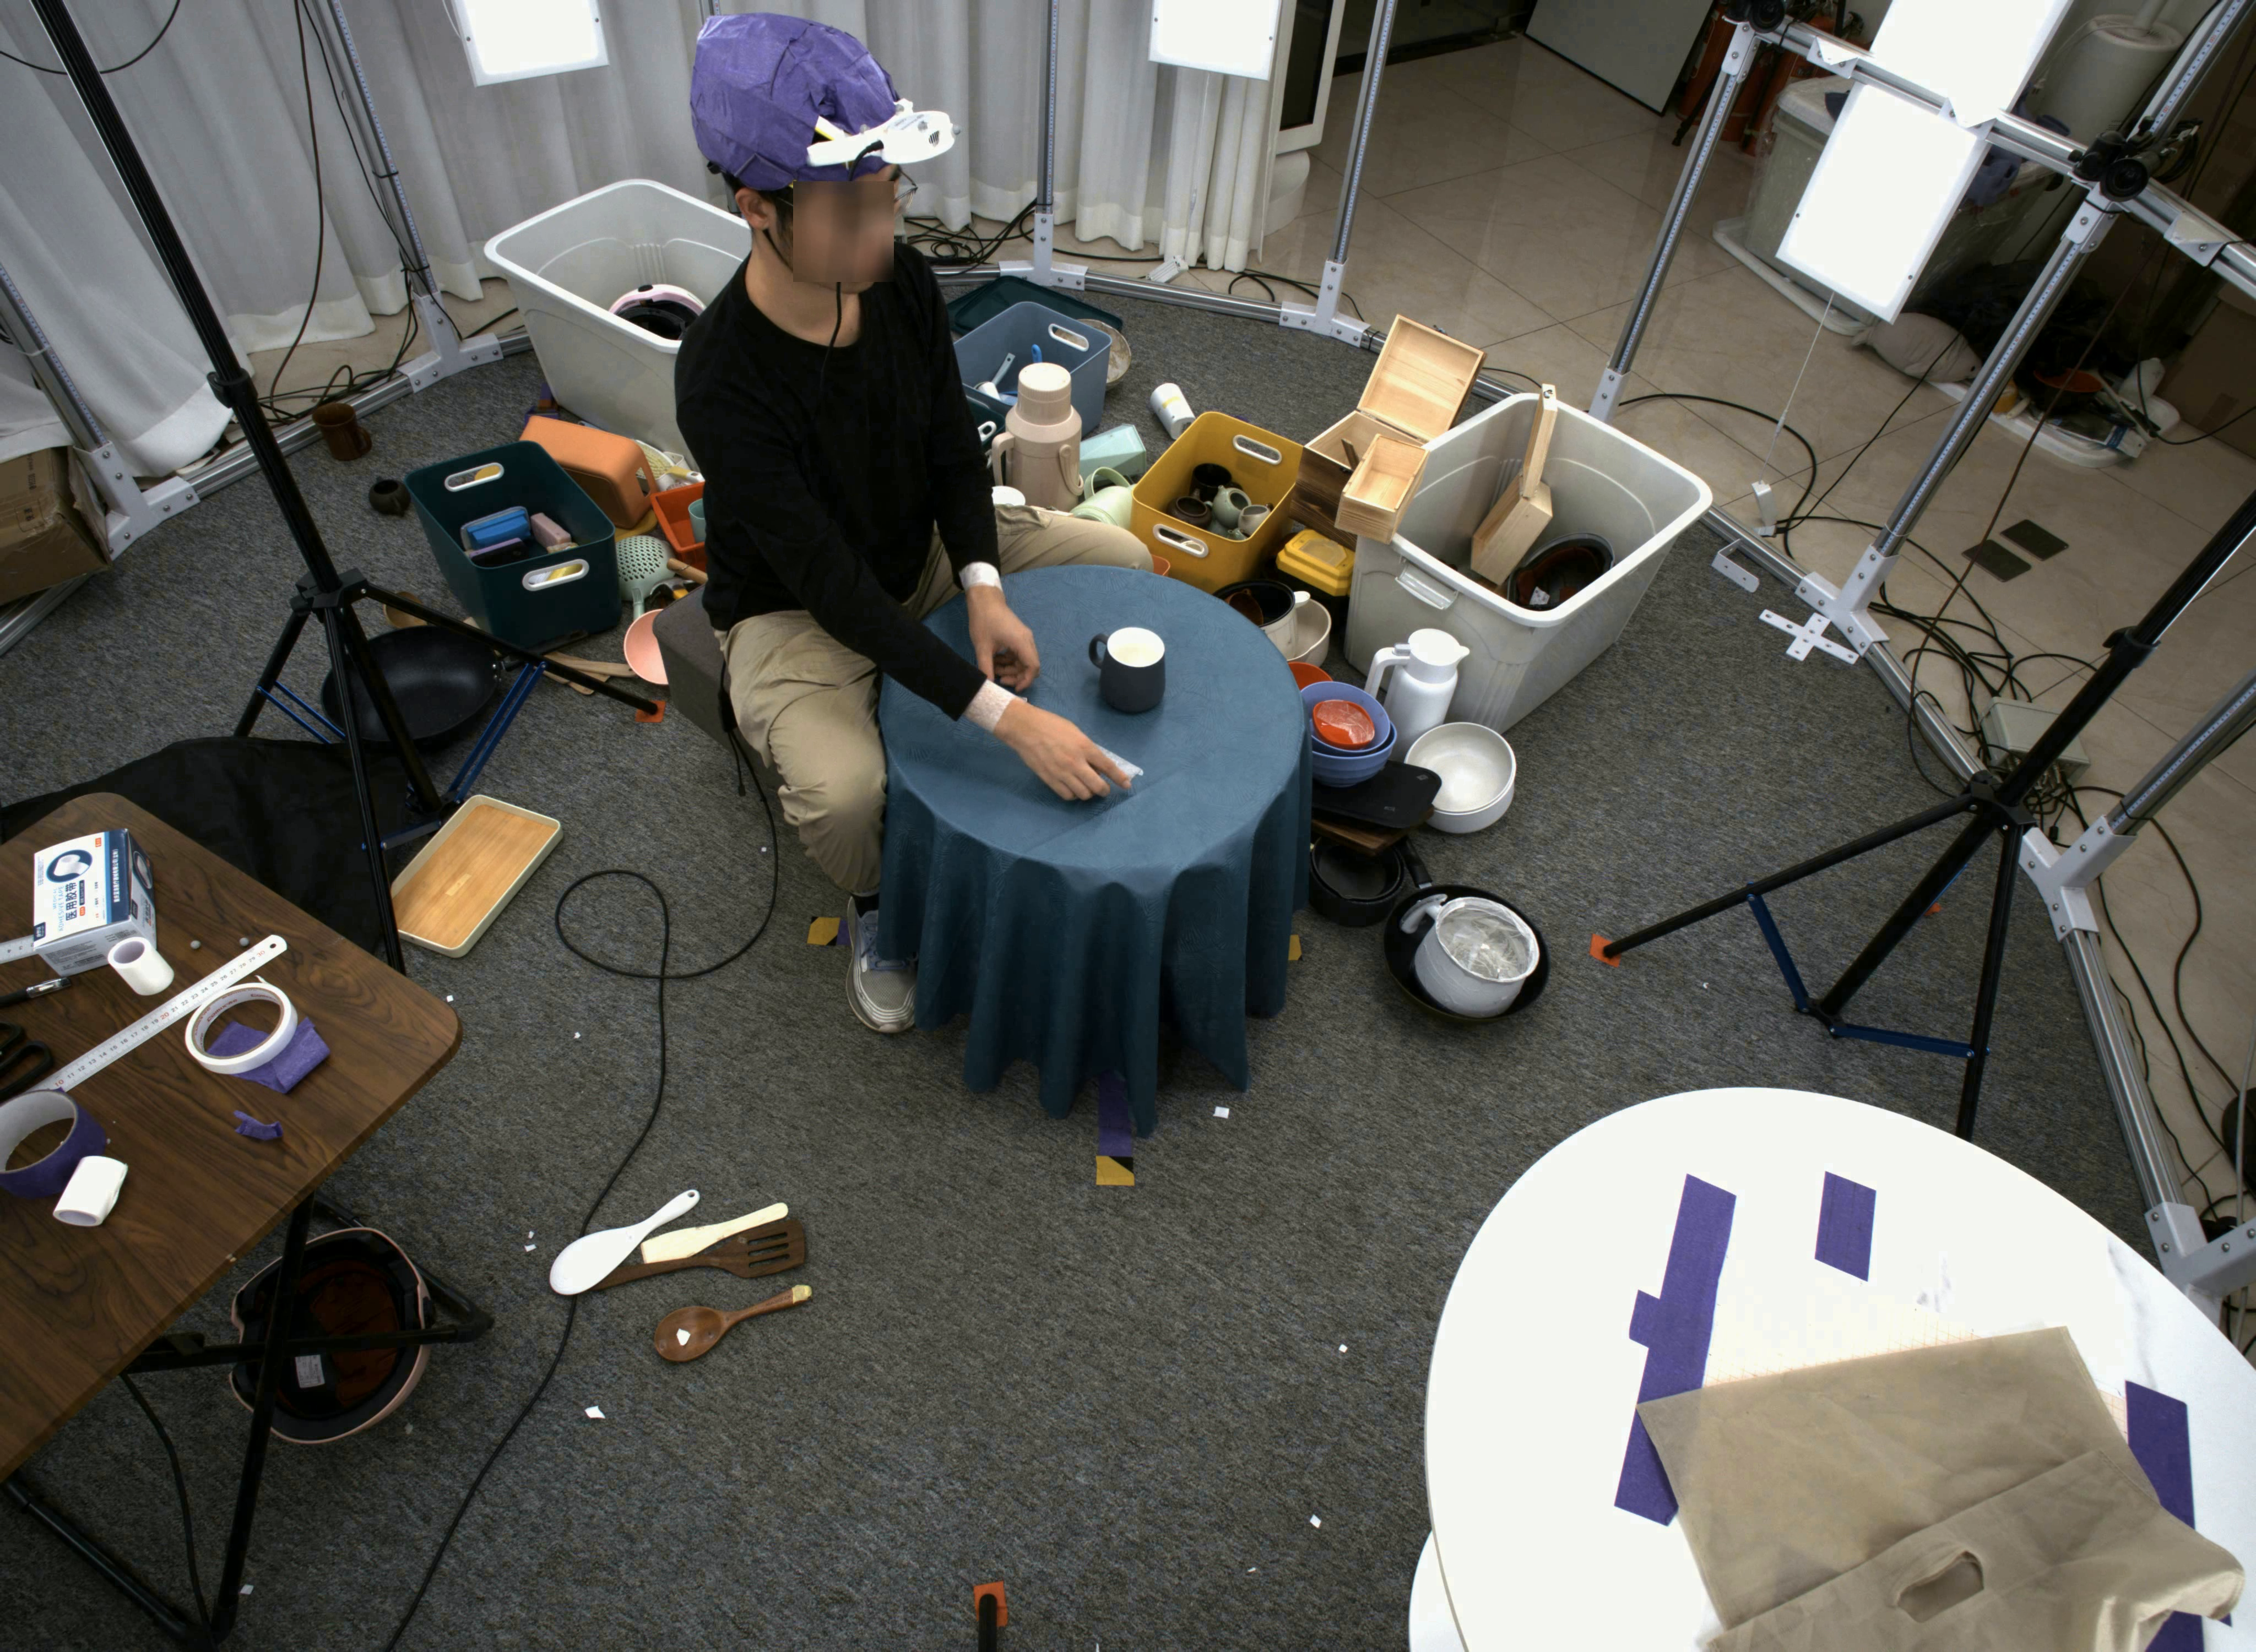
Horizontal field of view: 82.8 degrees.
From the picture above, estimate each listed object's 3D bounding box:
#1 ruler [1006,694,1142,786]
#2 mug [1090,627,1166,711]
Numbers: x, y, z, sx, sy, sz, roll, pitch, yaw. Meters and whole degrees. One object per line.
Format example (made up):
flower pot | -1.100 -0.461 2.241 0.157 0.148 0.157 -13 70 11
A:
ruler | -0.079 -0.122 1.756 0.220 0.023 0.039 30 61 22
mug | -0.003 -0.228 1.807 0.125 0.088 0.094 35 55 22
